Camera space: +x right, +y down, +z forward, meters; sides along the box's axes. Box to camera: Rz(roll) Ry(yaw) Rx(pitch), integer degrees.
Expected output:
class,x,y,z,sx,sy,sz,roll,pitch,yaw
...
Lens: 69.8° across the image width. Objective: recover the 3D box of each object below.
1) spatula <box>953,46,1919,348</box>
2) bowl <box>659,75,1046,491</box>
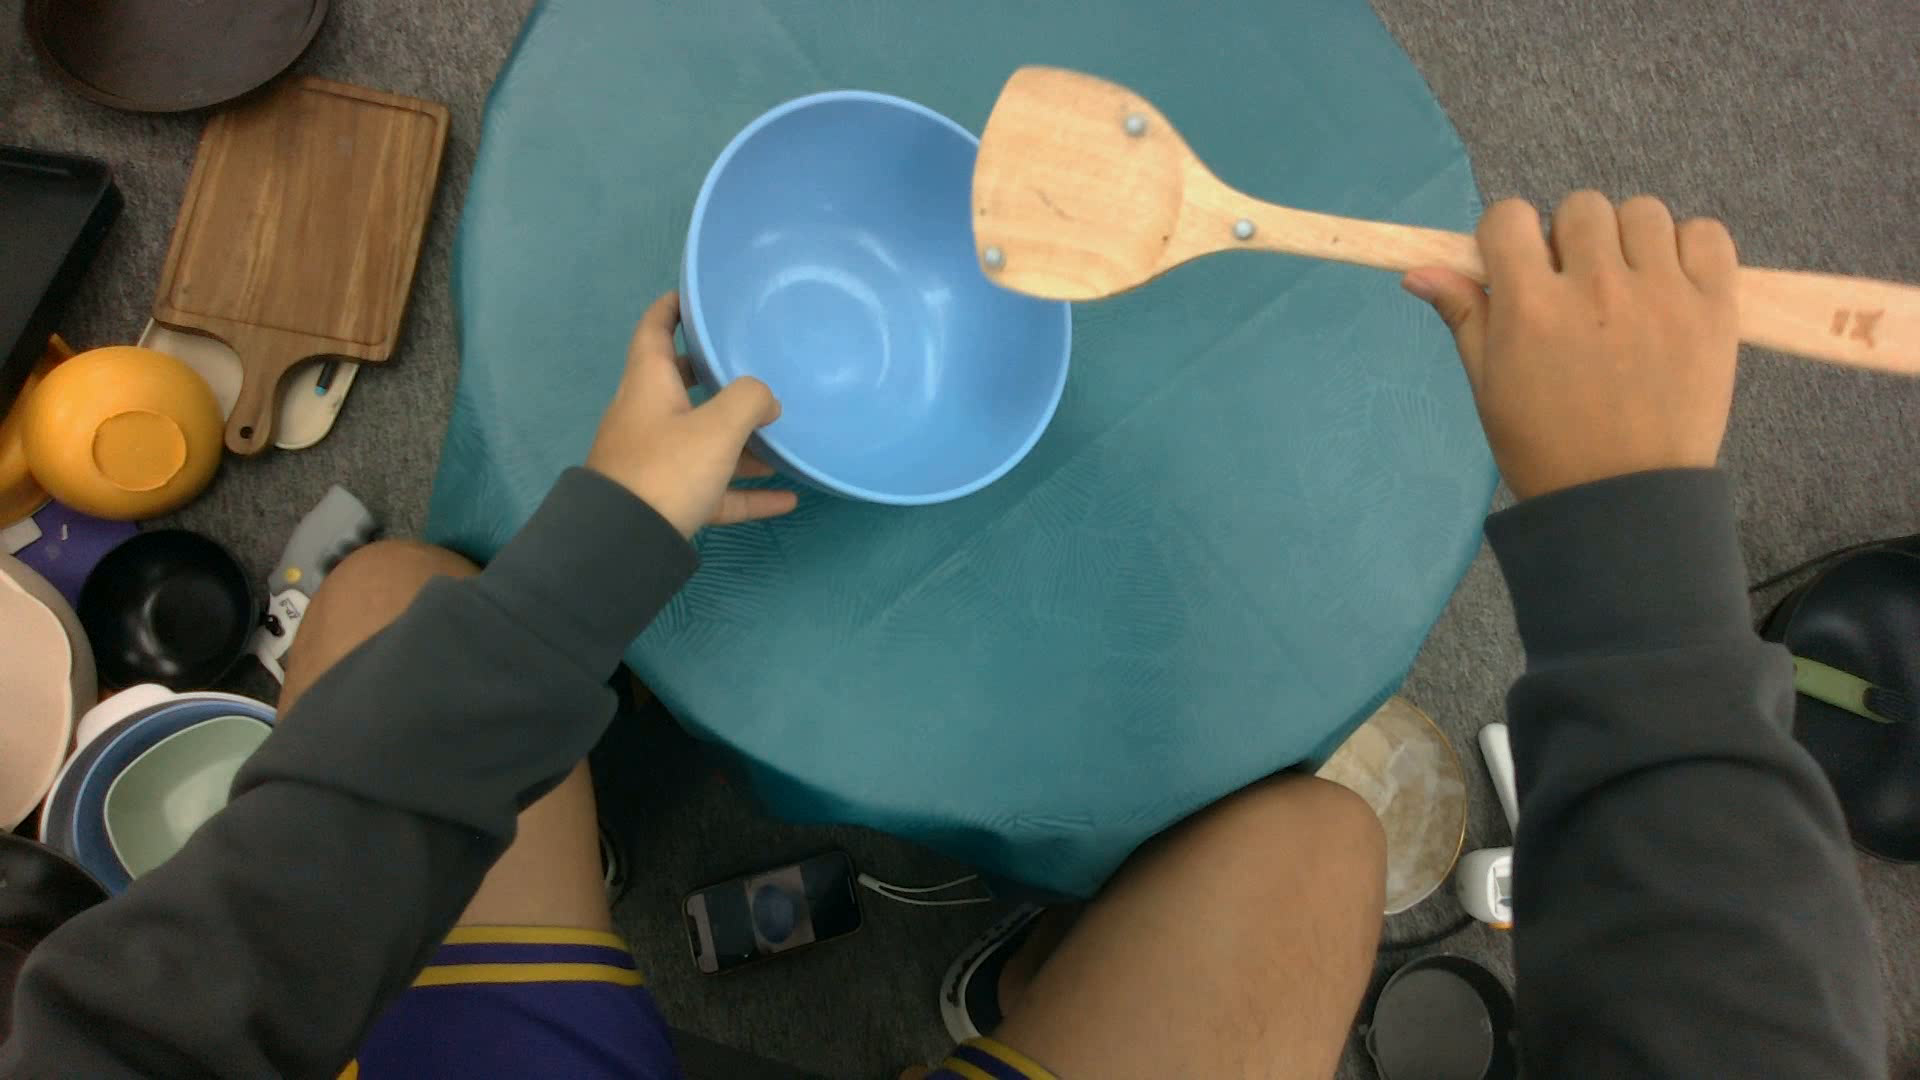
class,x,y,z,sx,sy,sz,roll,pitch,yaw
spatula,0.175,-0.128,0.546,0.390,0.018,0.095,15,111,22
bowl,-0.064,-0.113,0.673,0.197,0.095,0.197,7,78,-32
